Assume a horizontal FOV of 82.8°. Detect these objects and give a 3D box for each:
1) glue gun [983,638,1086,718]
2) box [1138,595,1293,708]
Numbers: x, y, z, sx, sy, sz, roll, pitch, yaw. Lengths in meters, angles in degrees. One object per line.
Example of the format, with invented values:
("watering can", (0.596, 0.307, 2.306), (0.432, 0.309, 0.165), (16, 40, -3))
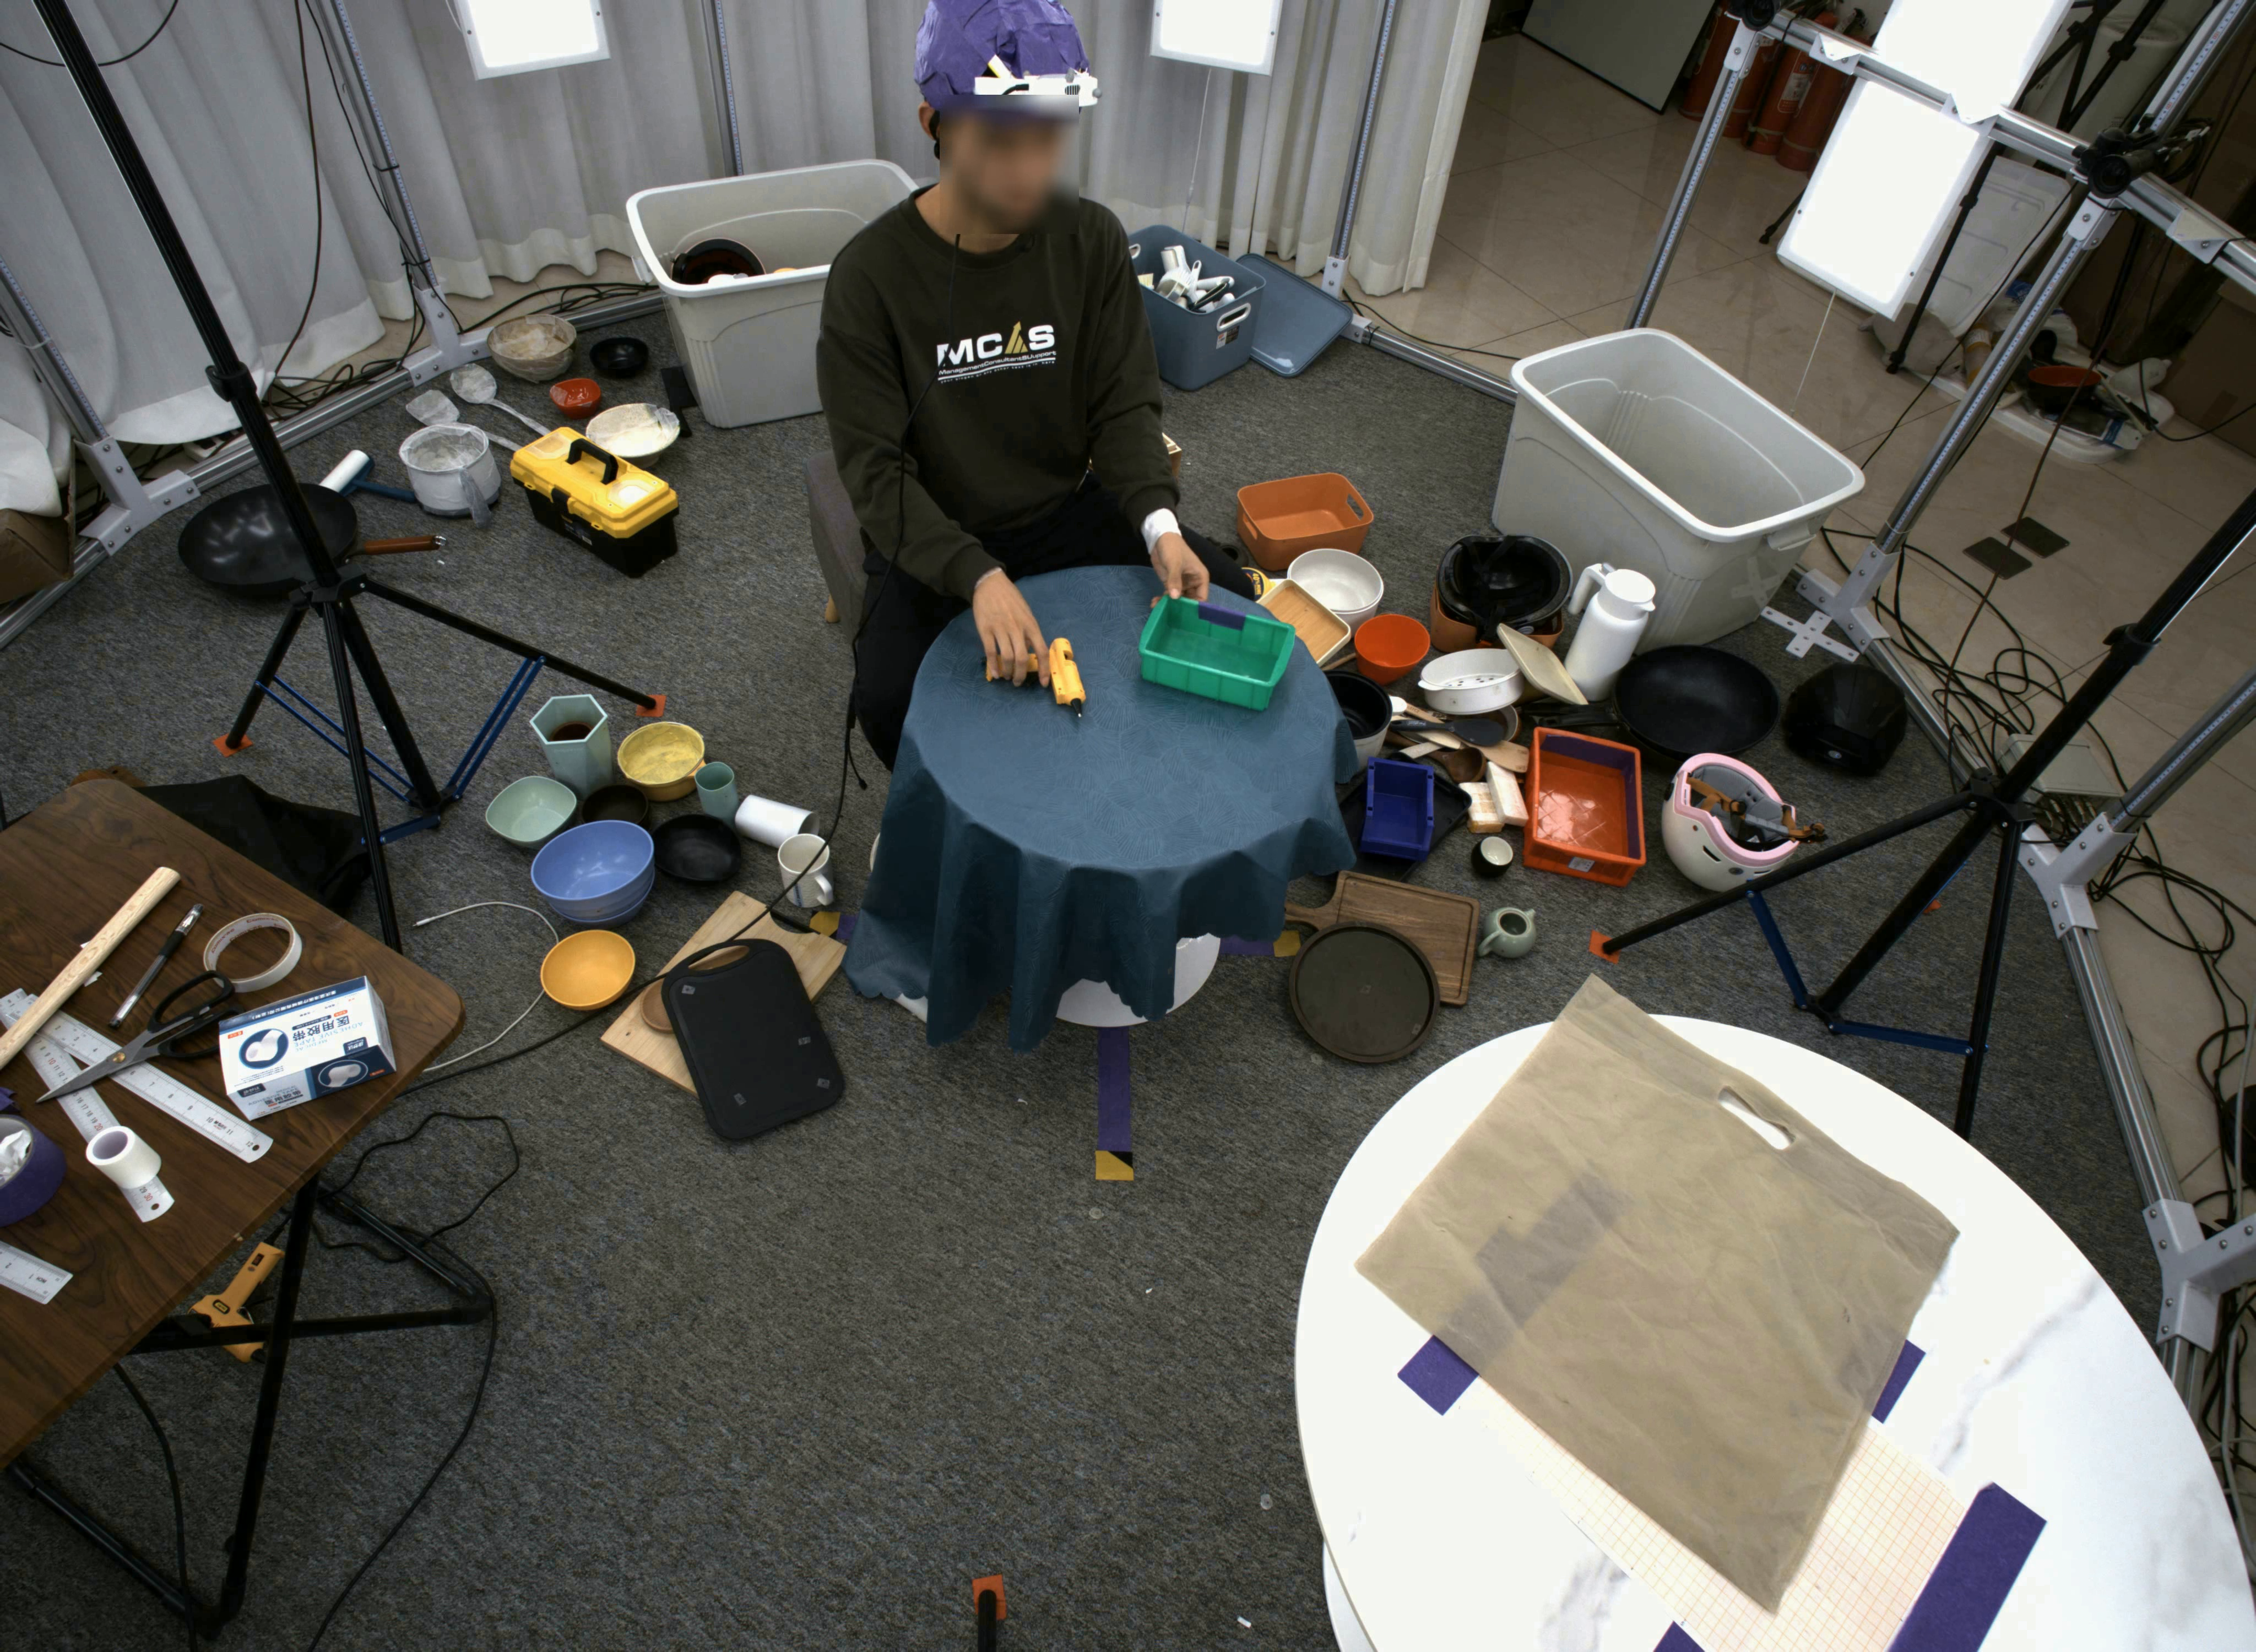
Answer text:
("glue gun", (-0.124, -0.198, 1.808), (0.133, 0.030, 0.155), (-13, 51, -12))
("box", (0.124, -0.249, 1.844), (0.211, 0.064, 0.141), (14, 47, 10))
